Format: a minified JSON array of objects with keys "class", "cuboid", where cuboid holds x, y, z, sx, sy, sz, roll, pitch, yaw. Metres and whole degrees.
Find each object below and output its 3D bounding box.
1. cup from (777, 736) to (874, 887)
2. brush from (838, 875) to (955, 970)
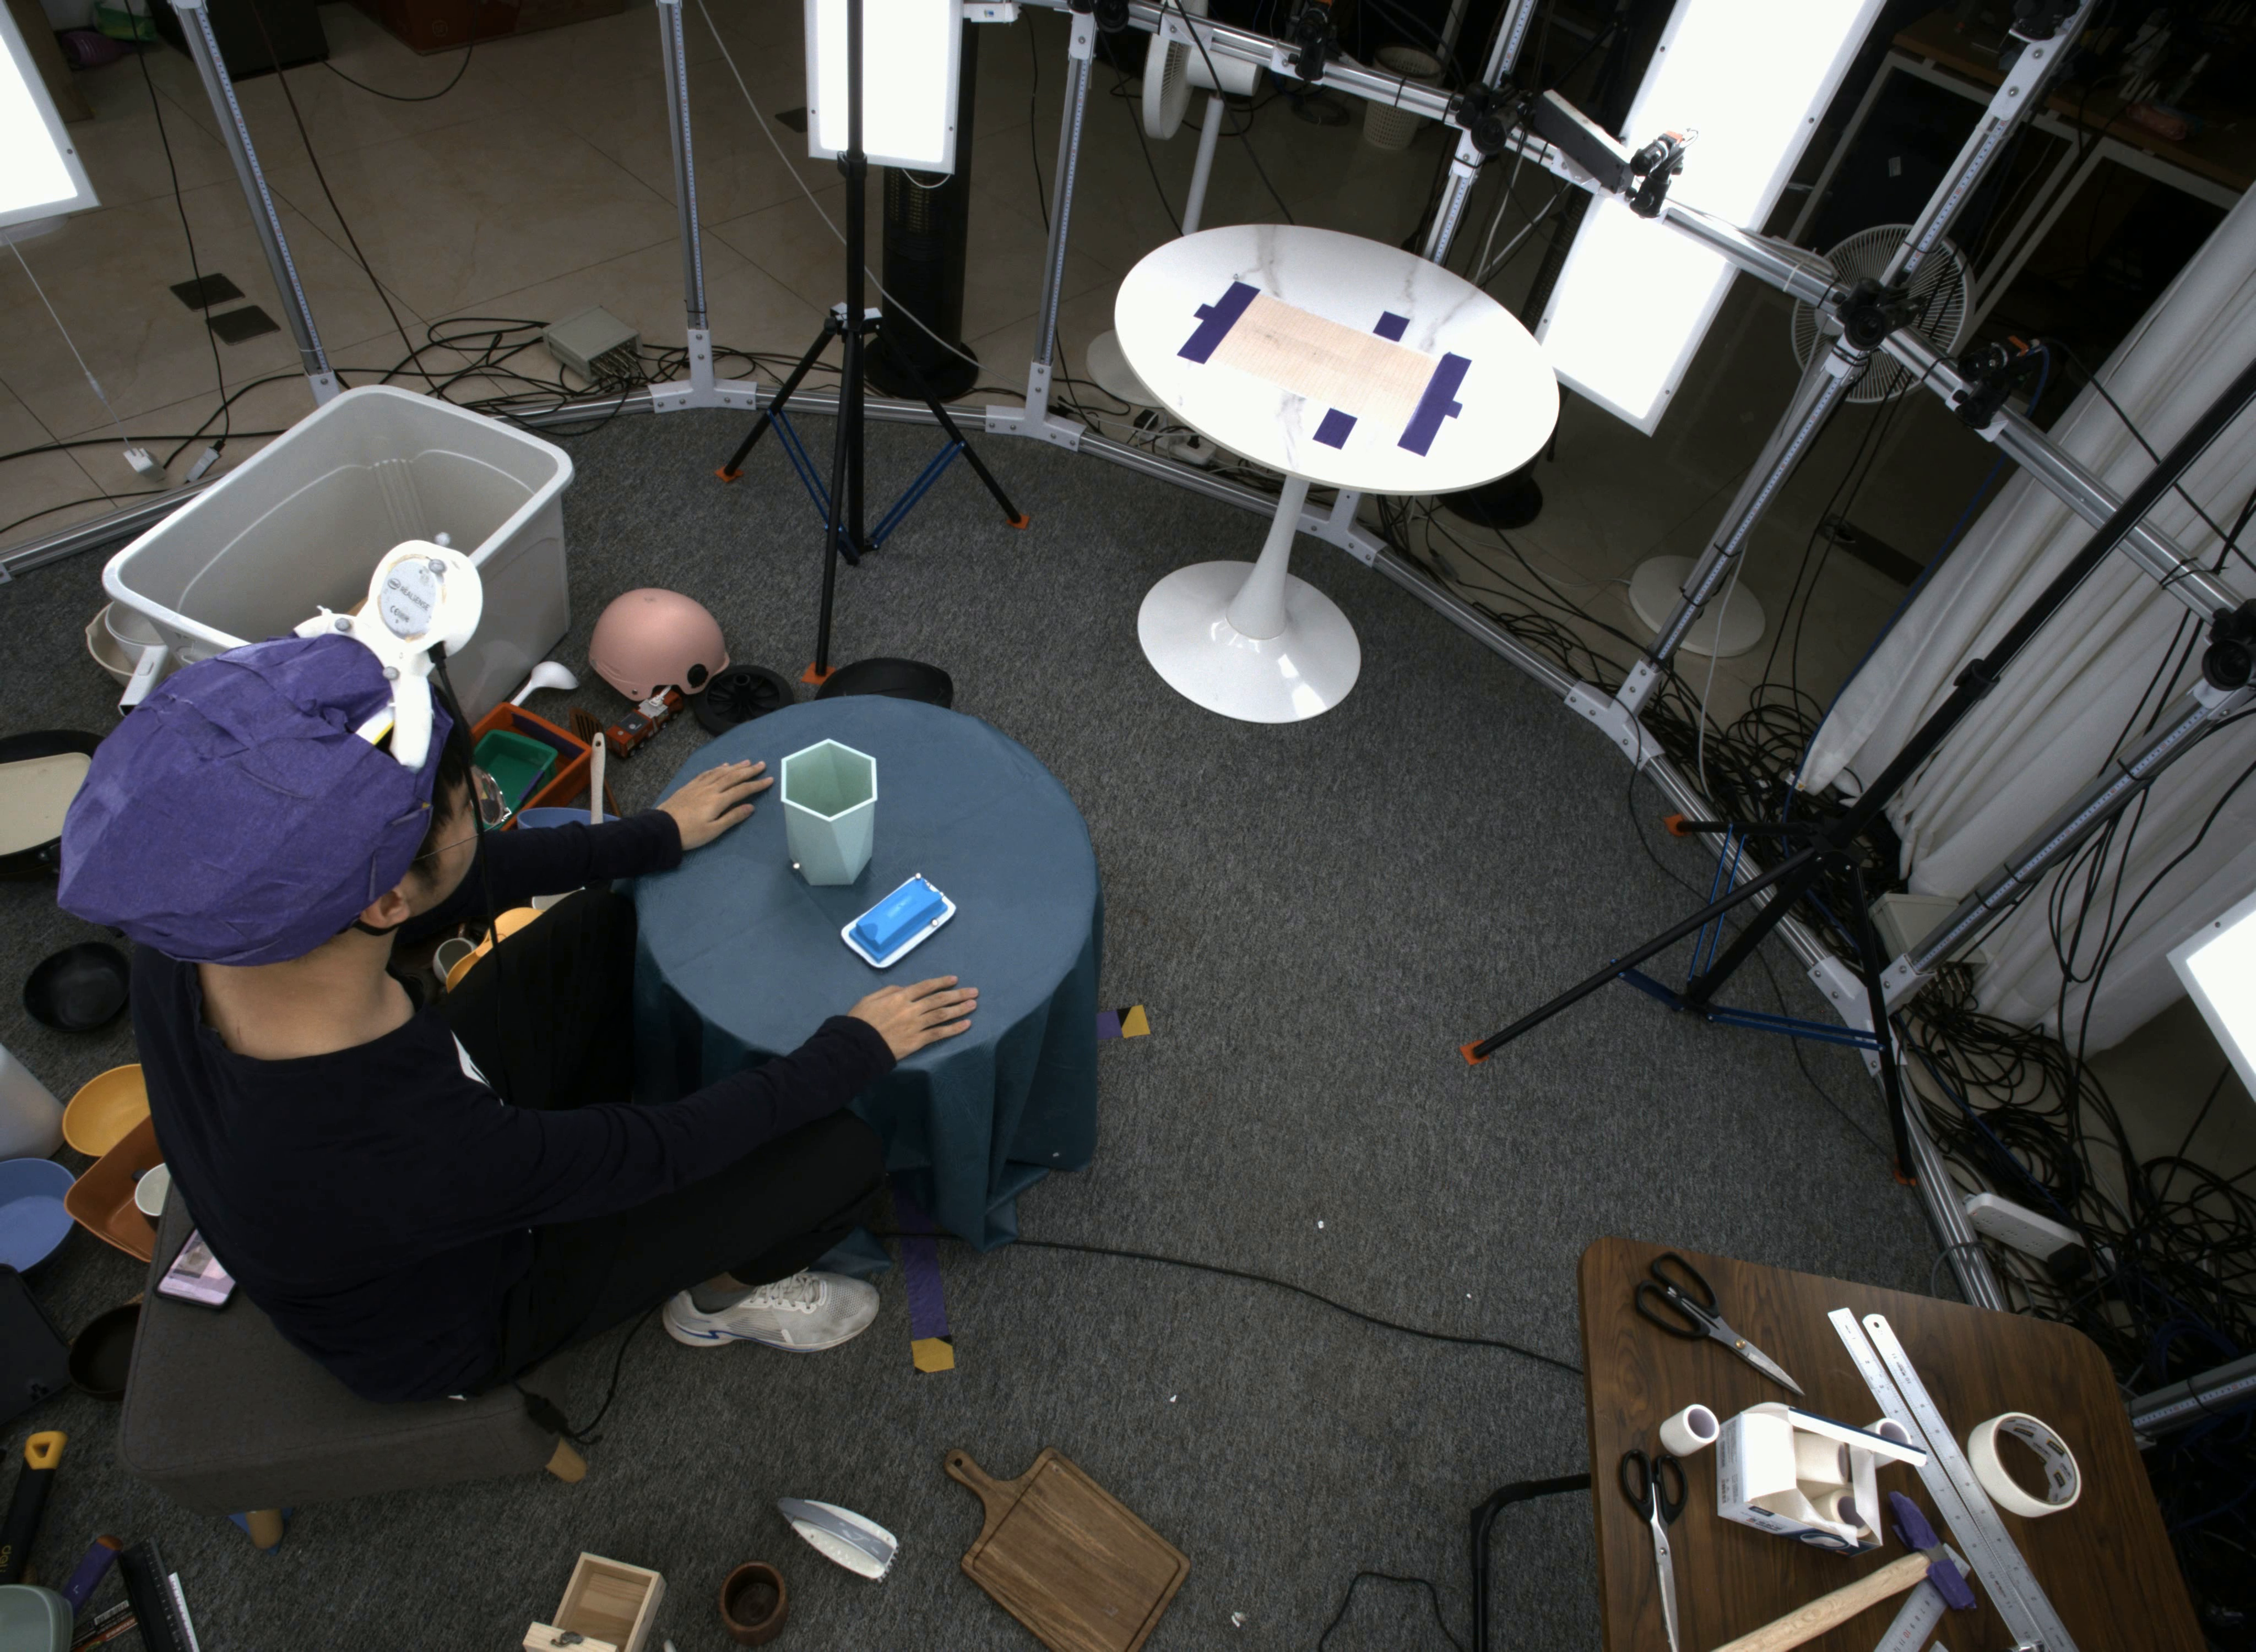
[{"class":"cup","cuboid":[-0.378,-0.011,1.640,0.129,0.166,0.114,21,53,5]},{"class":"brush","cuboid":[-0.291,0.112,1.636,0.082,0.057,0.144,39,52,20]}]
